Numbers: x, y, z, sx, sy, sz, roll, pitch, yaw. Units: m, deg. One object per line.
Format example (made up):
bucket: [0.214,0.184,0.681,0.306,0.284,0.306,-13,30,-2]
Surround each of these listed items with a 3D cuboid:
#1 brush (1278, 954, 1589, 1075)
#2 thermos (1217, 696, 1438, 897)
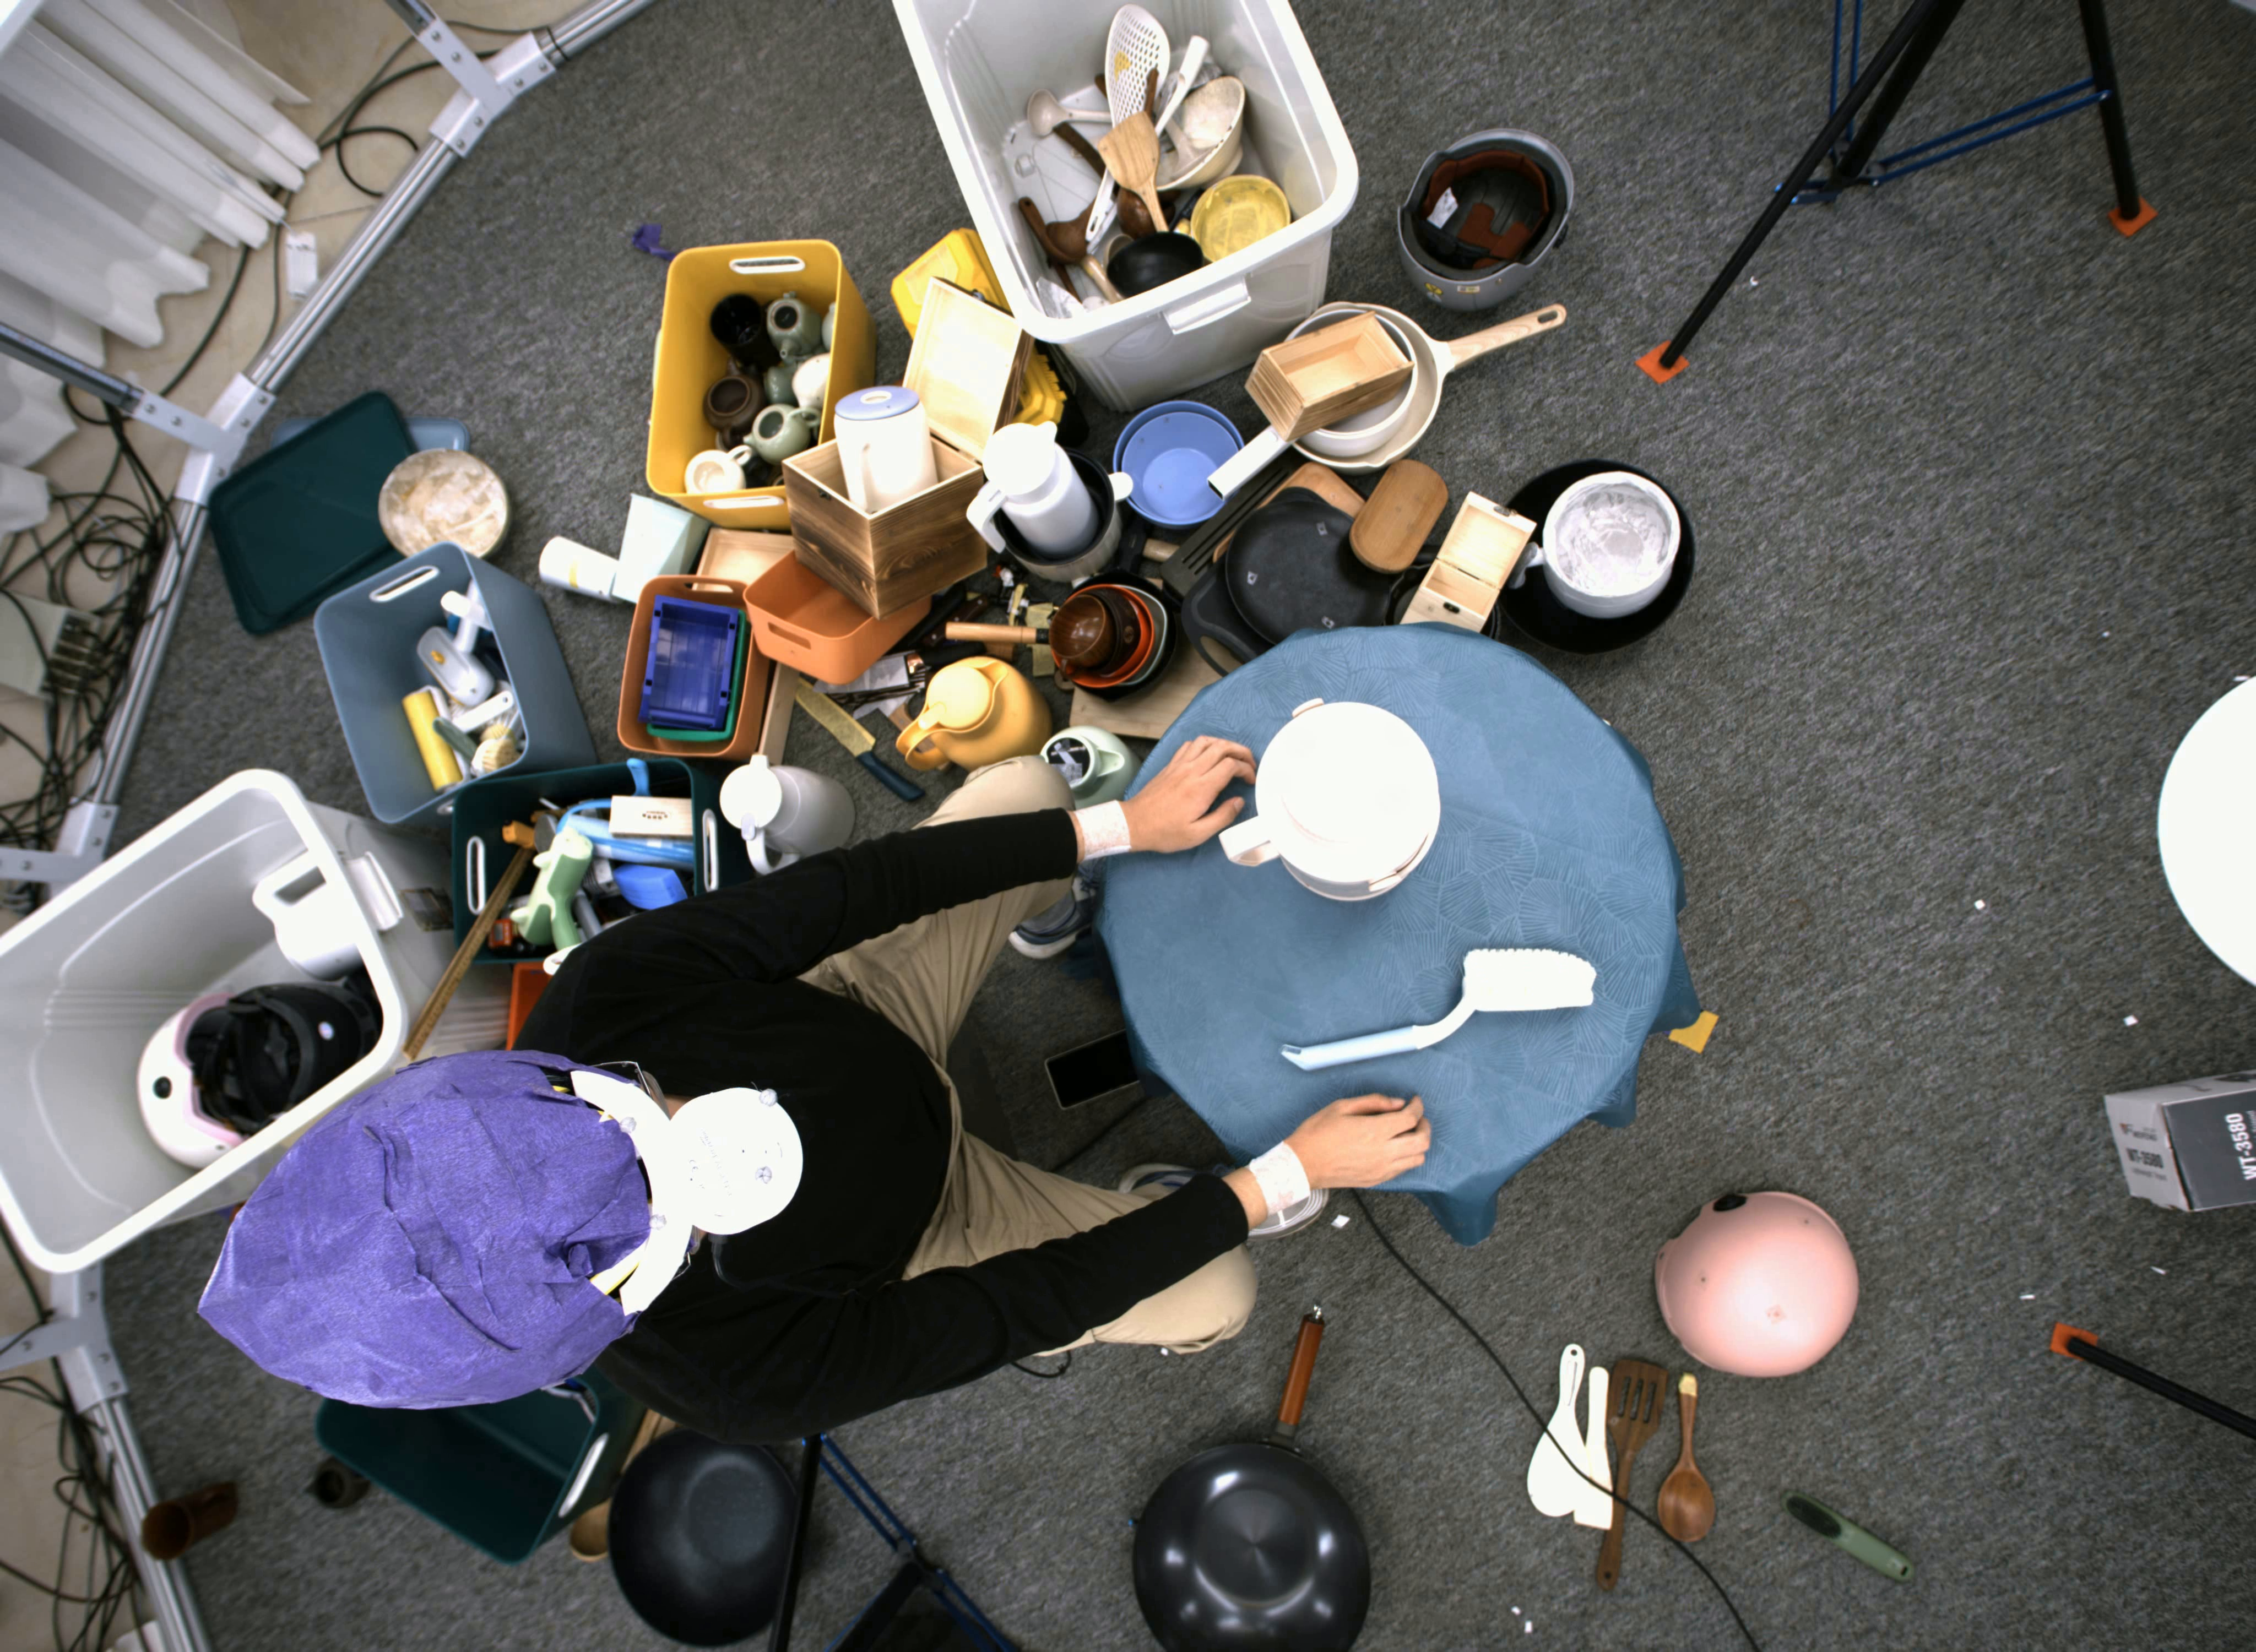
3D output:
brush: [0.306,0.180,1.411,0.327,0.084,0.083,-13,71,11]
thermos: [0.188,-0.018,1.279,0.208,0.406,0.174,-24,82,6]
